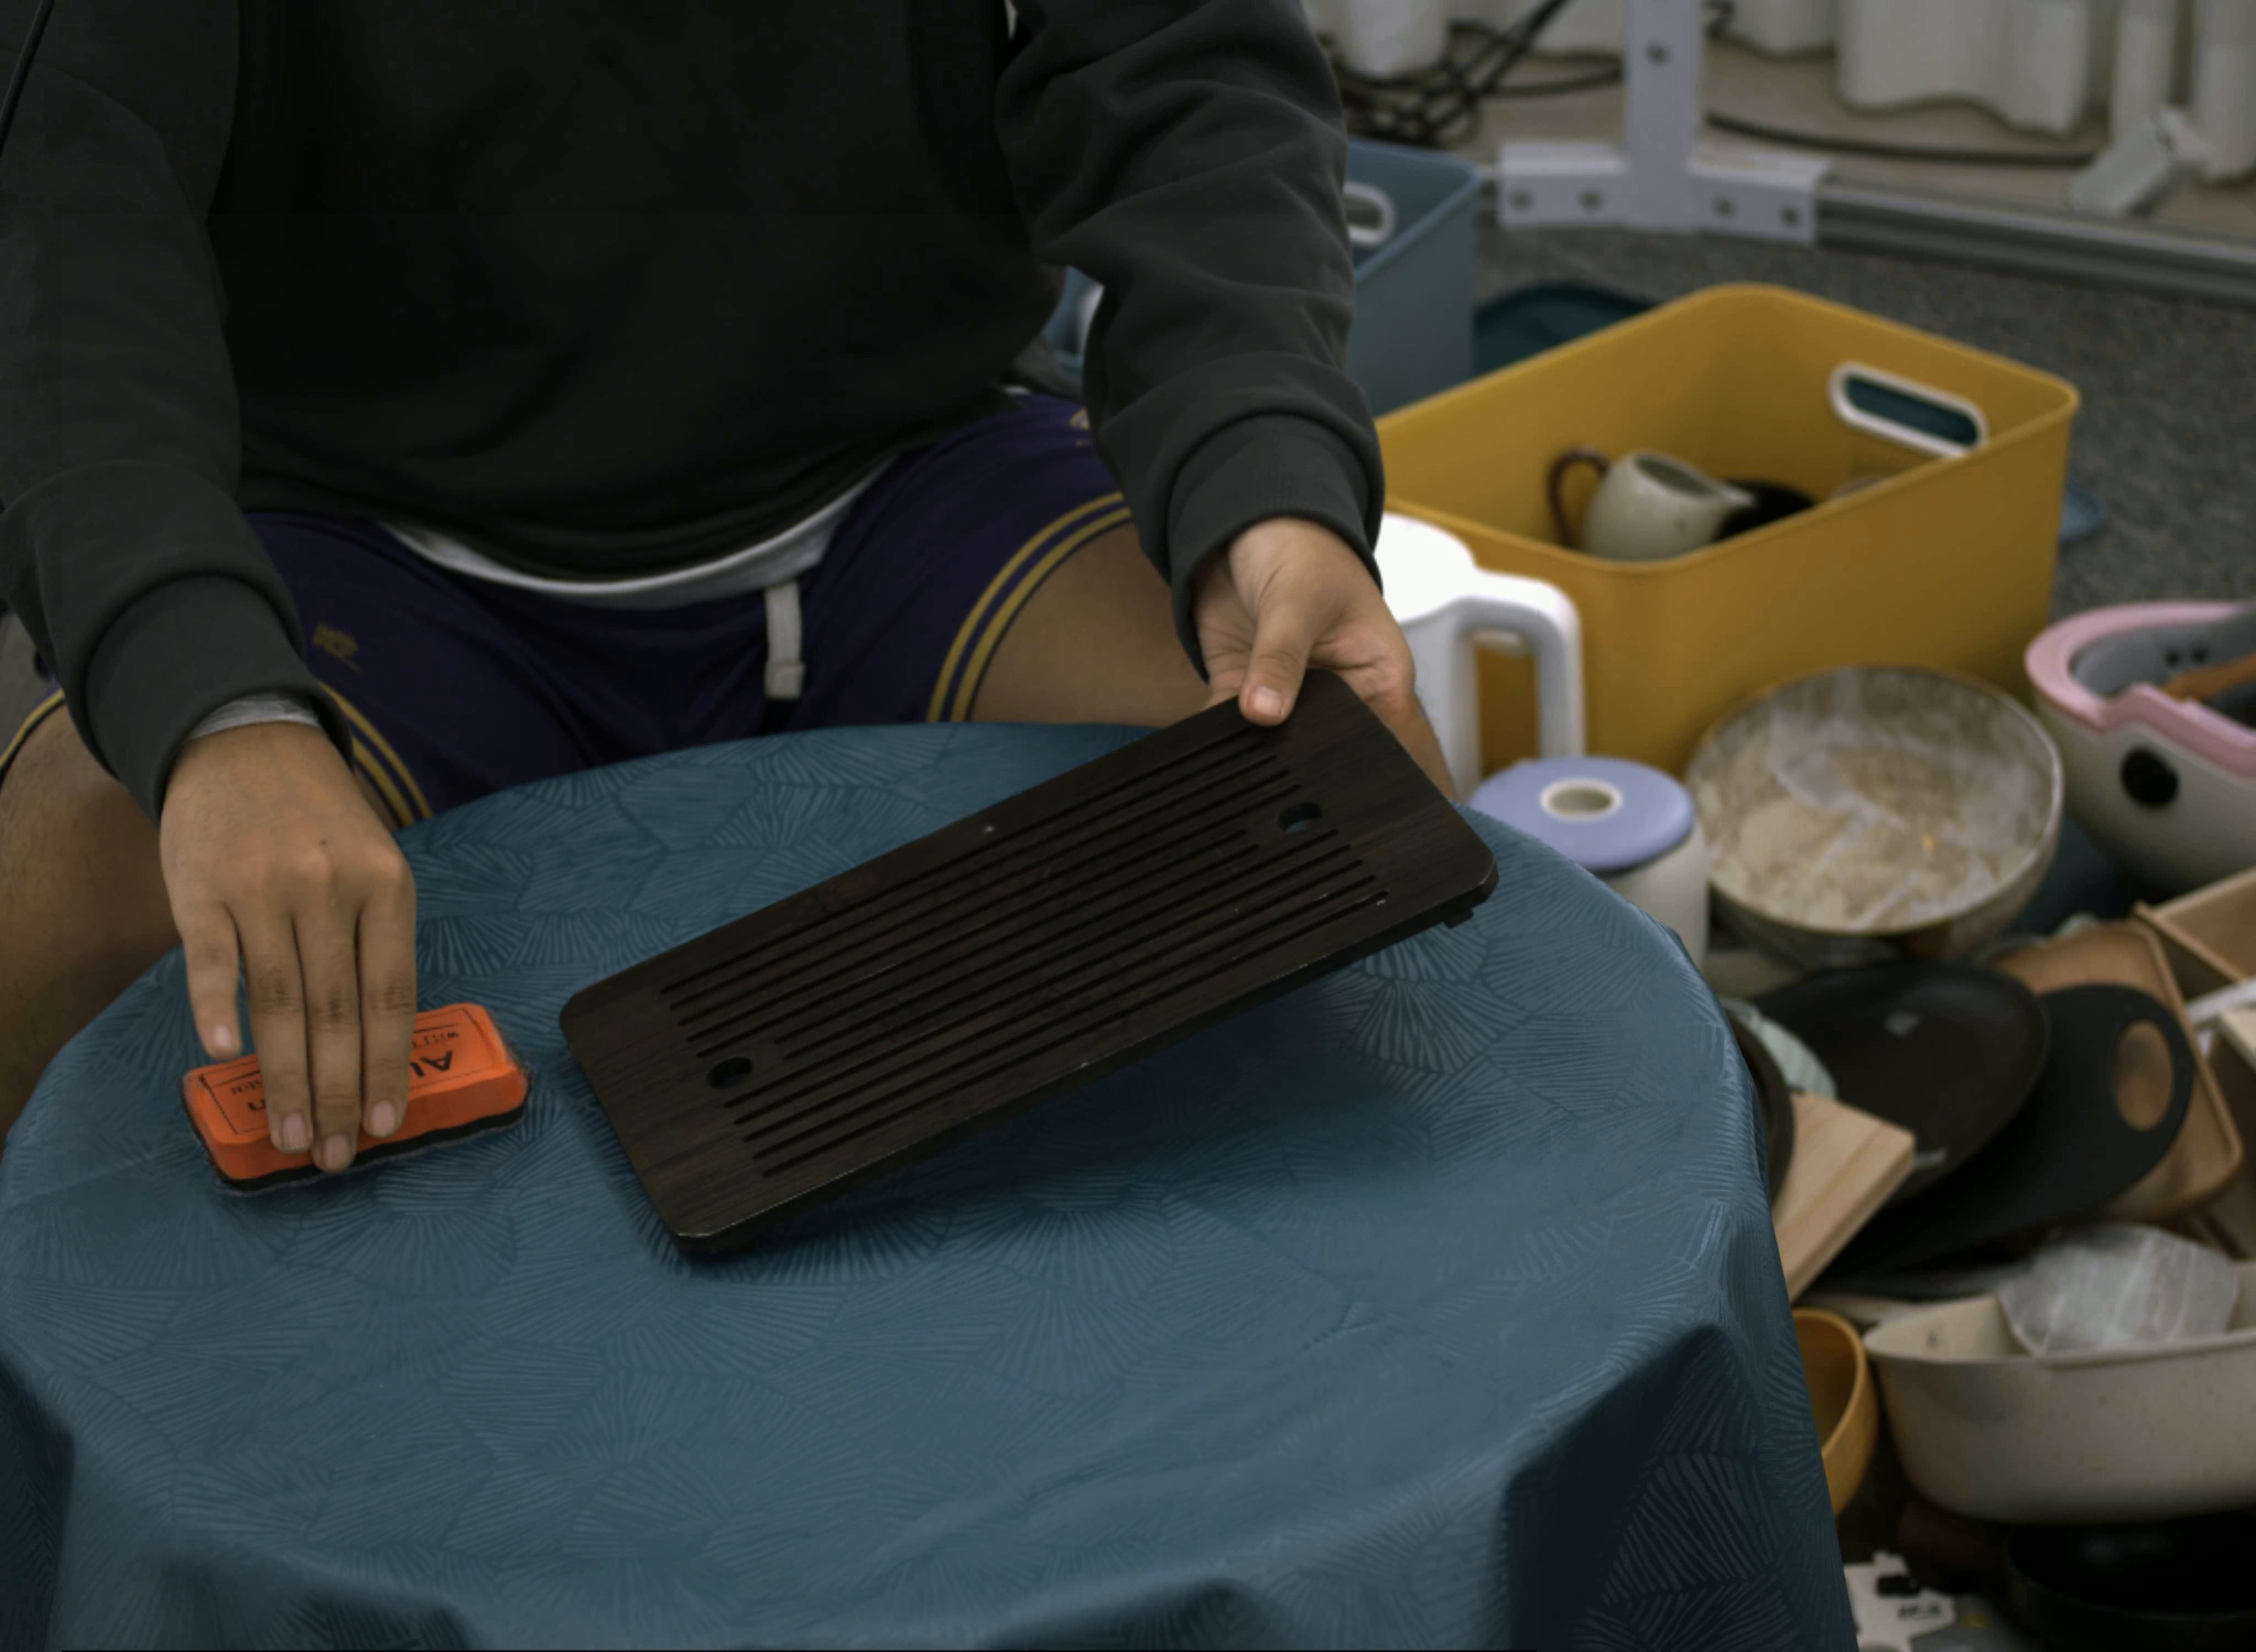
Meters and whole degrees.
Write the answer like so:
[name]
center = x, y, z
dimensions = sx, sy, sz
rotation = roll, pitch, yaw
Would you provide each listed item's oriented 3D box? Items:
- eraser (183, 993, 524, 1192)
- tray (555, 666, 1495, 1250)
[eraser]
center = -0.264, 0.091, 1.915
dimensions = 0.108, 0.022, 0.059
rotation = -15, 29, -20
[tray]
center = -0.037, 0.044, 1.925
dimensions = 0.306, 0.018, 0.171
rotation = -24, 33, -10
